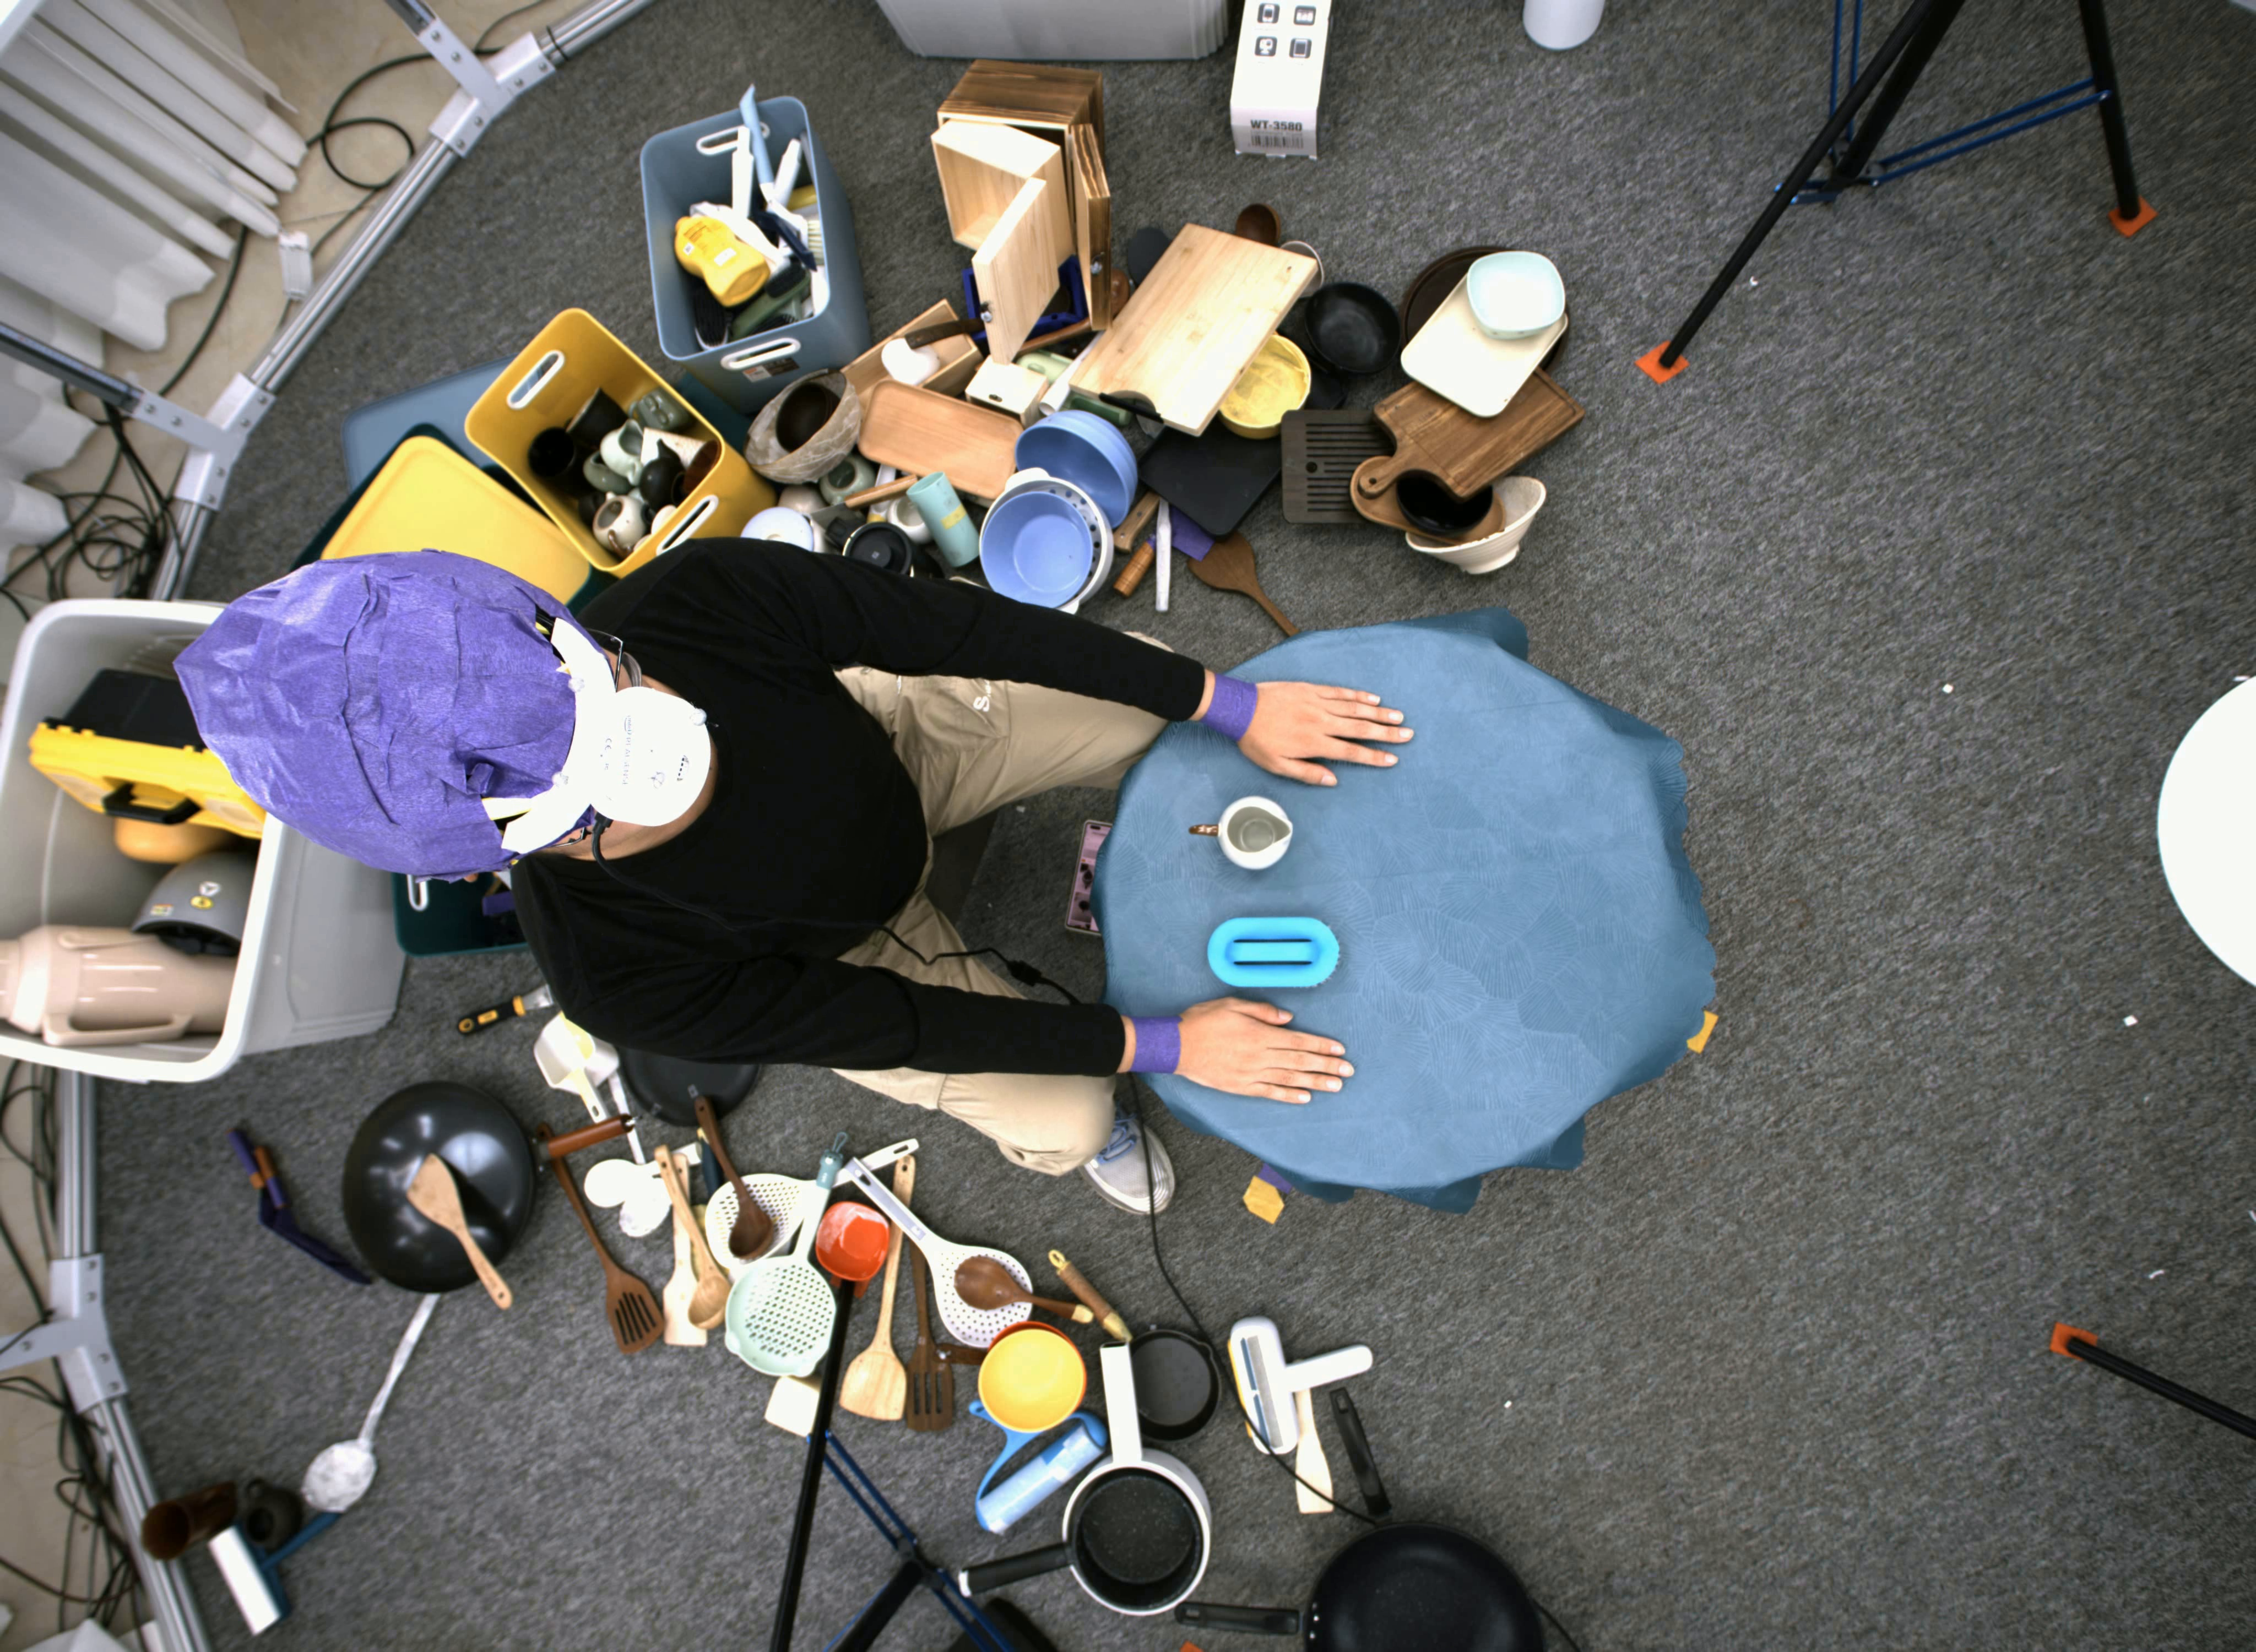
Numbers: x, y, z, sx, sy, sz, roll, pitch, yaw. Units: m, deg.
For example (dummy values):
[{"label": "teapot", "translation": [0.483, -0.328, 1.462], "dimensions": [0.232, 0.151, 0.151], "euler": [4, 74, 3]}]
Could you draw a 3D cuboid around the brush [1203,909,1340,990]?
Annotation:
[{"label": "brush", "translation": [0.149, 0.128, 1.445], "dimensions": [0.142, 0.063, 0.084], "euler": [0, 90, 11]}]

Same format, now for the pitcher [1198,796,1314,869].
[{"label": "pitcher", "translation": [0.133, 0.007, 1.444], "dimensions": [0.119, 0.088, 0.075], "euler": [6, 81, 7]}]
